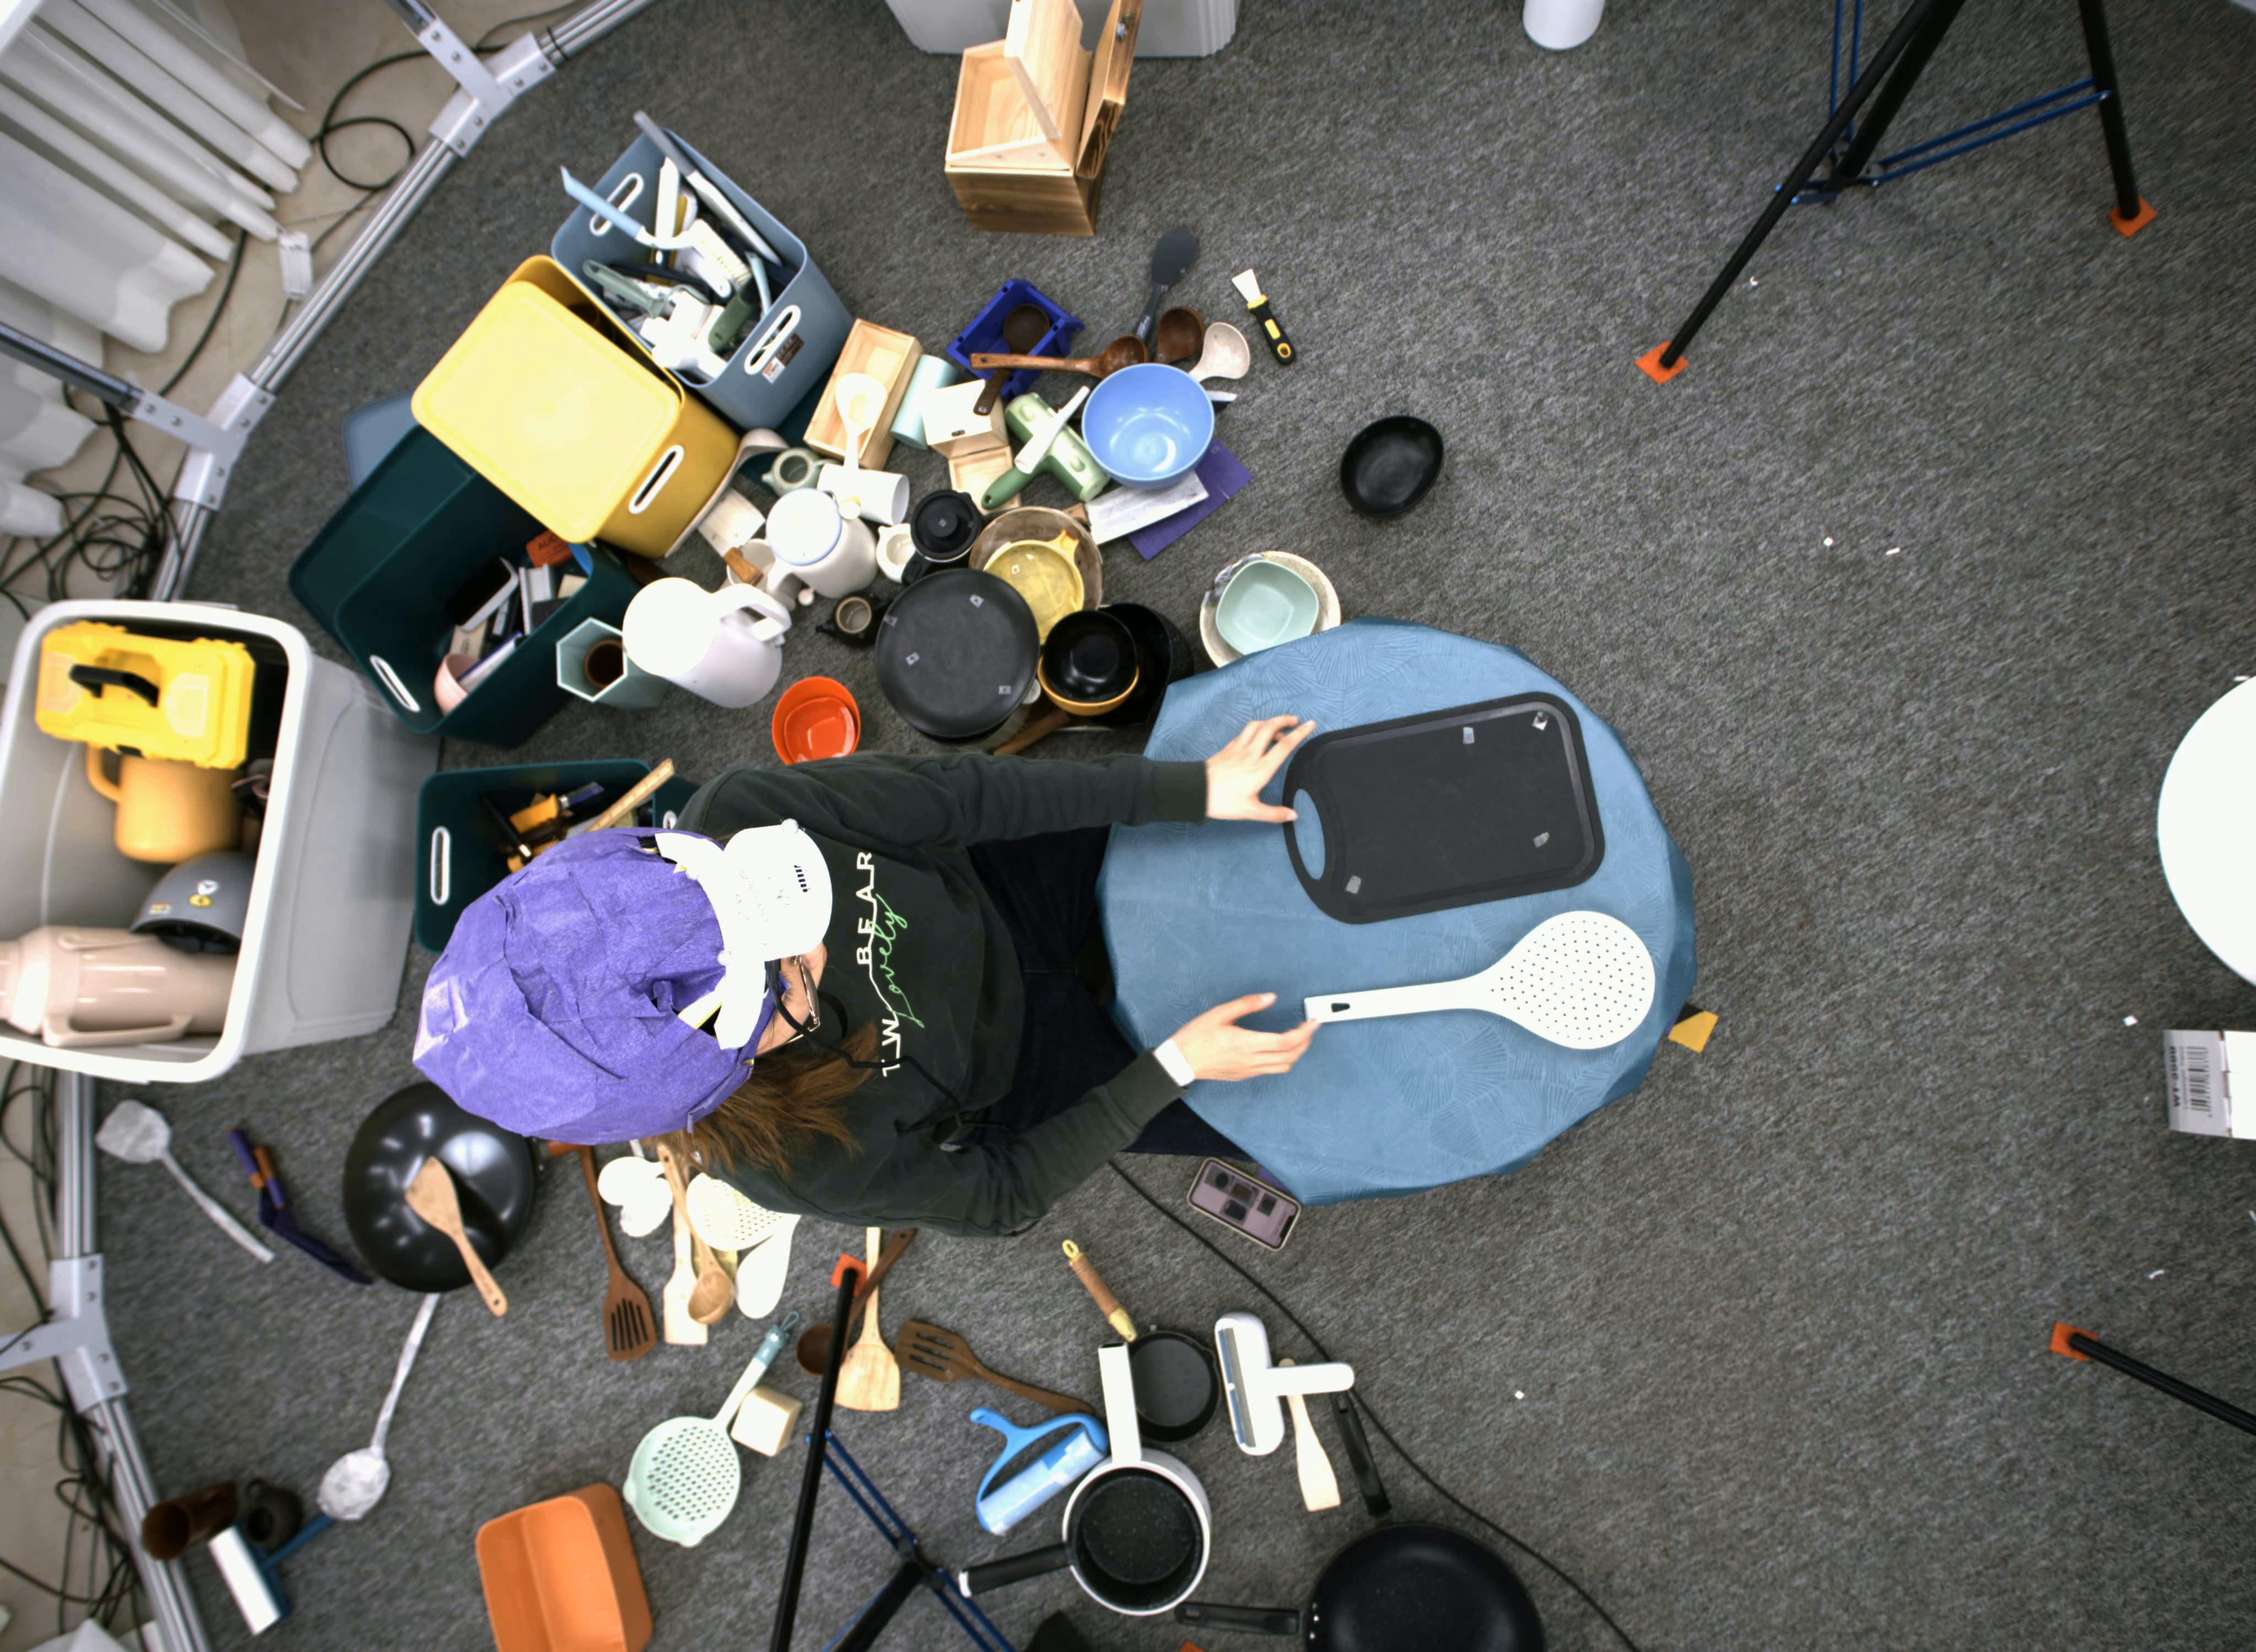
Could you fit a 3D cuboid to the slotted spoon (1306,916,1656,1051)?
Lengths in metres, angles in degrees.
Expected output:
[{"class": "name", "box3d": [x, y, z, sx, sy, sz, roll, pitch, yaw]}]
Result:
[{"class": "slotted spoon", "box3d": [0.358, 0.172, 1.419, 0.351, 0.046, 0.135, -7, 82, 10]}]

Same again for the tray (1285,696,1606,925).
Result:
[{"class": "tray", "box3d": [0.330, -0.016, 1.456, 0.327, 0.010, 0.210, -11, 84, 10]}]
